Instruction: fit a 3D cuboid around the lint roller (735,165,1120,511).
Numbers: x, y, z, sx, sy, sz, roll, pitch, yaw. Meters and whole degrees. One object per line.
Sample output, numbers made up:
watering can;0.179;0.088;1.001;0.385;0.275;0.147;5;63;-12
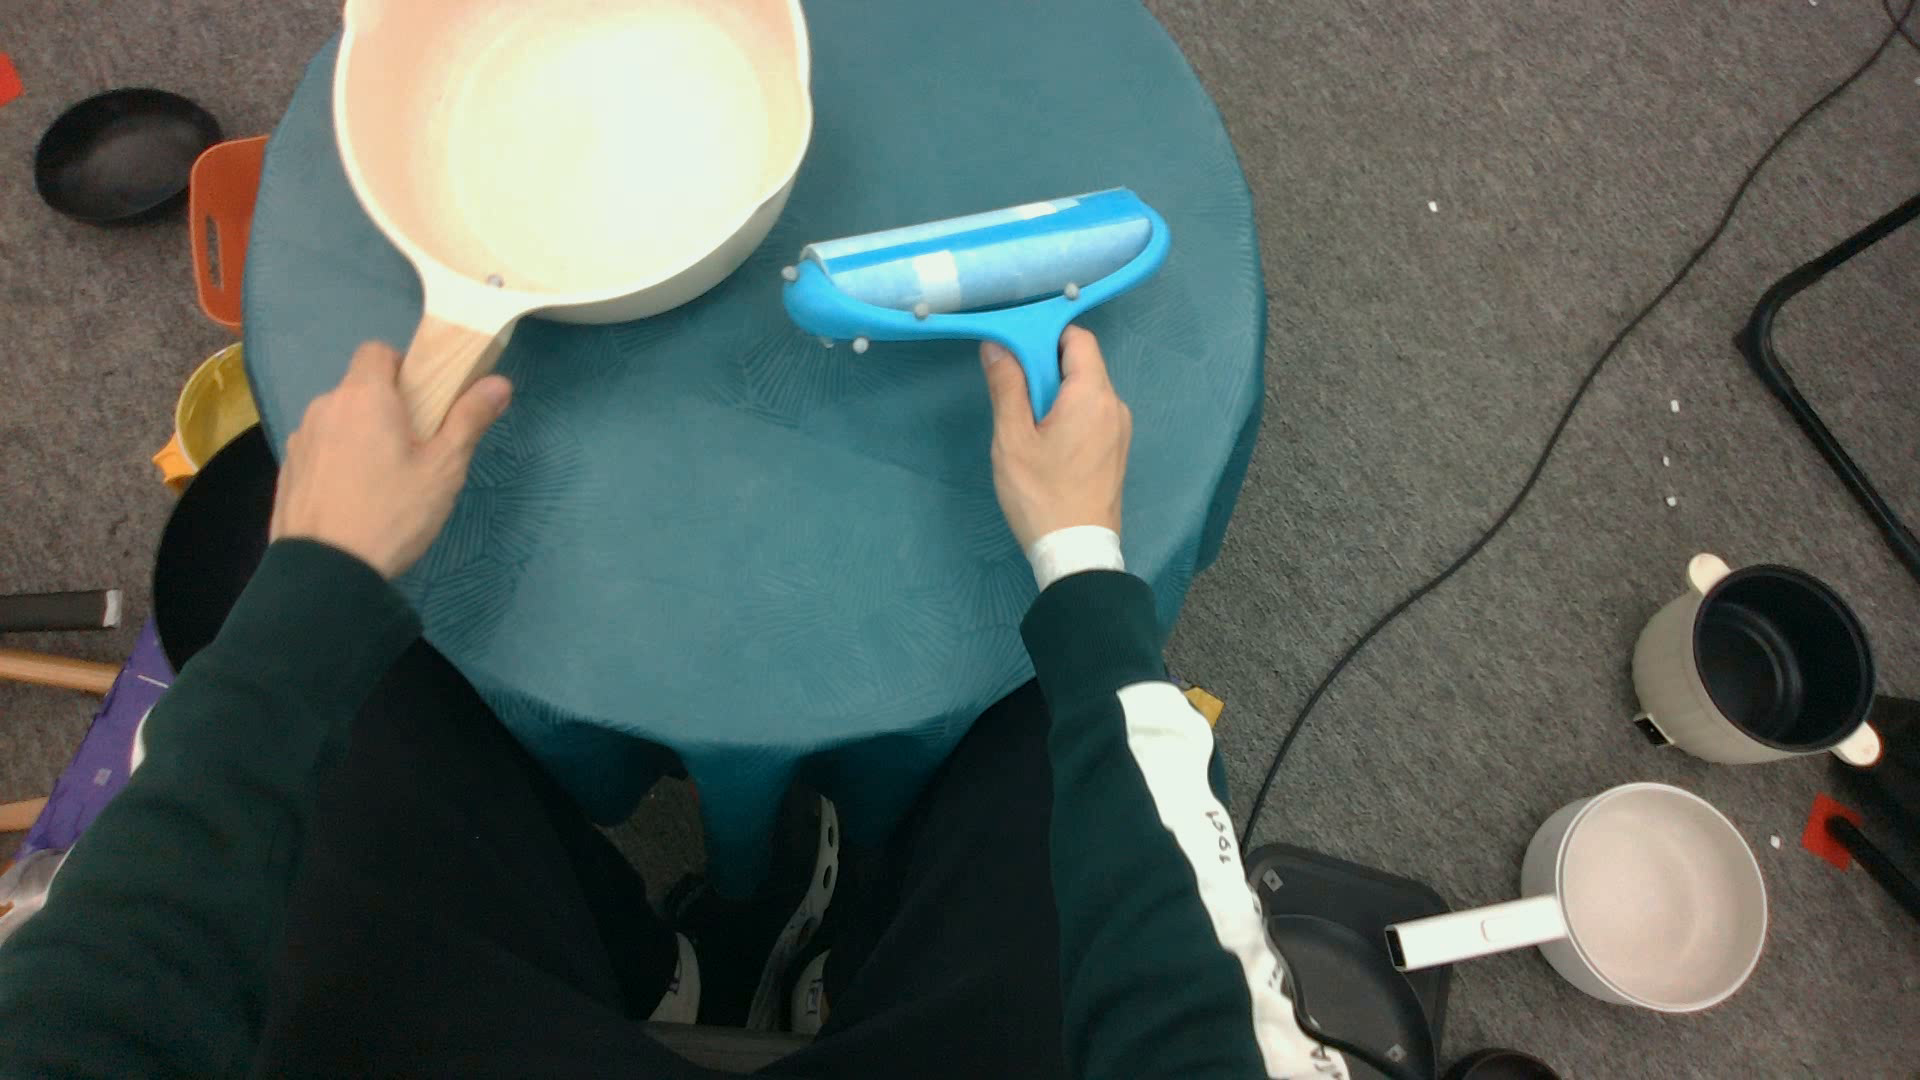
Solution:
lint roller;0.011;-0.107;0.743;0.230;0.067;0.180;-22;80;-28

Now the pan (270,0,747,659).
pan;-0.260;-0.146;0.736;0.263;0.102;0.435;15;82;6
